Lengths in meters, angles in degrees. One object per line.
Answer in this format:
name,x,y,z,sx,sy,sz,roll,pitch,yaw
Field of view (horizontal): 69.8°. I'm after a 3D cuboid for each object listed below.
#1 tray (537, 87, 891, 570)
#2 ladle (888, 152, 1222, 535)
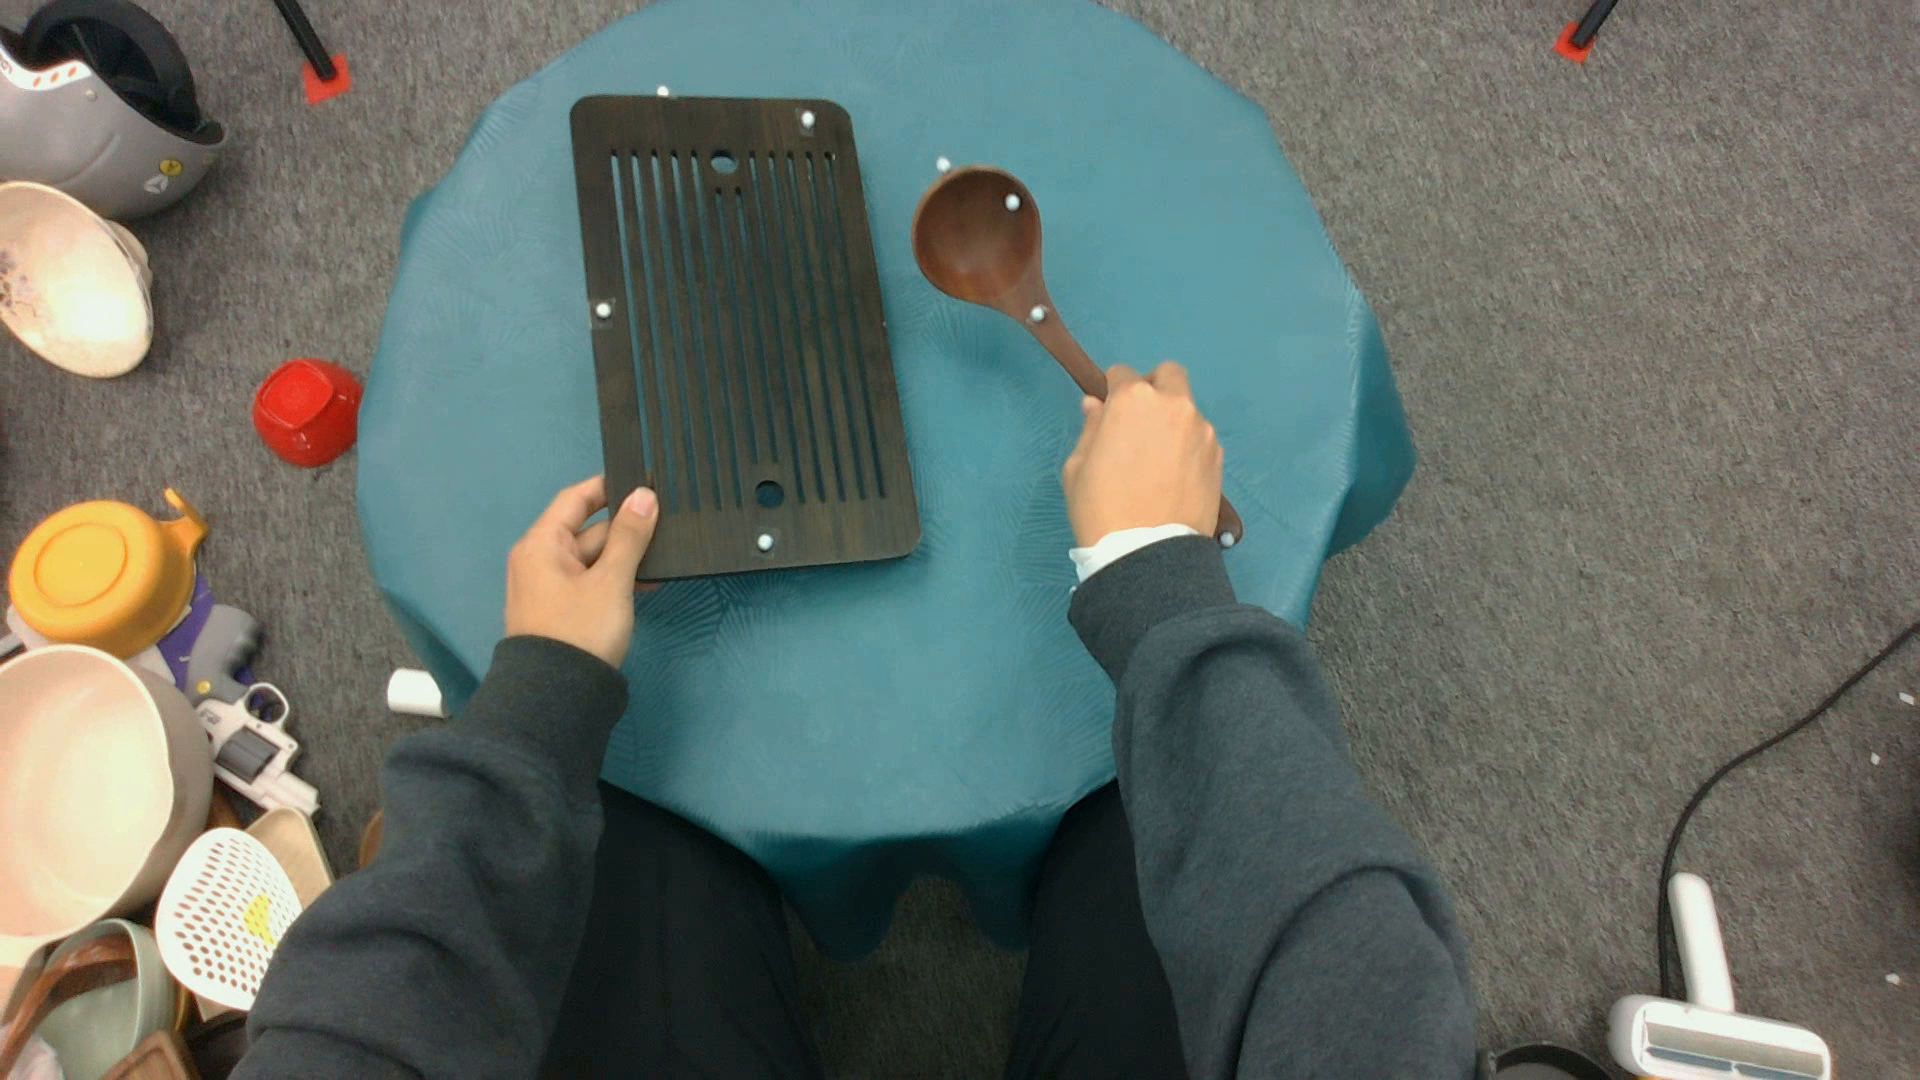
tray,-0.146,-0.131,0.799,0.170,0.018,0.306,-5,70,-17
ladle,0.056,-0.107,0.764,0.076,0.065,0.260,-40,79,11
